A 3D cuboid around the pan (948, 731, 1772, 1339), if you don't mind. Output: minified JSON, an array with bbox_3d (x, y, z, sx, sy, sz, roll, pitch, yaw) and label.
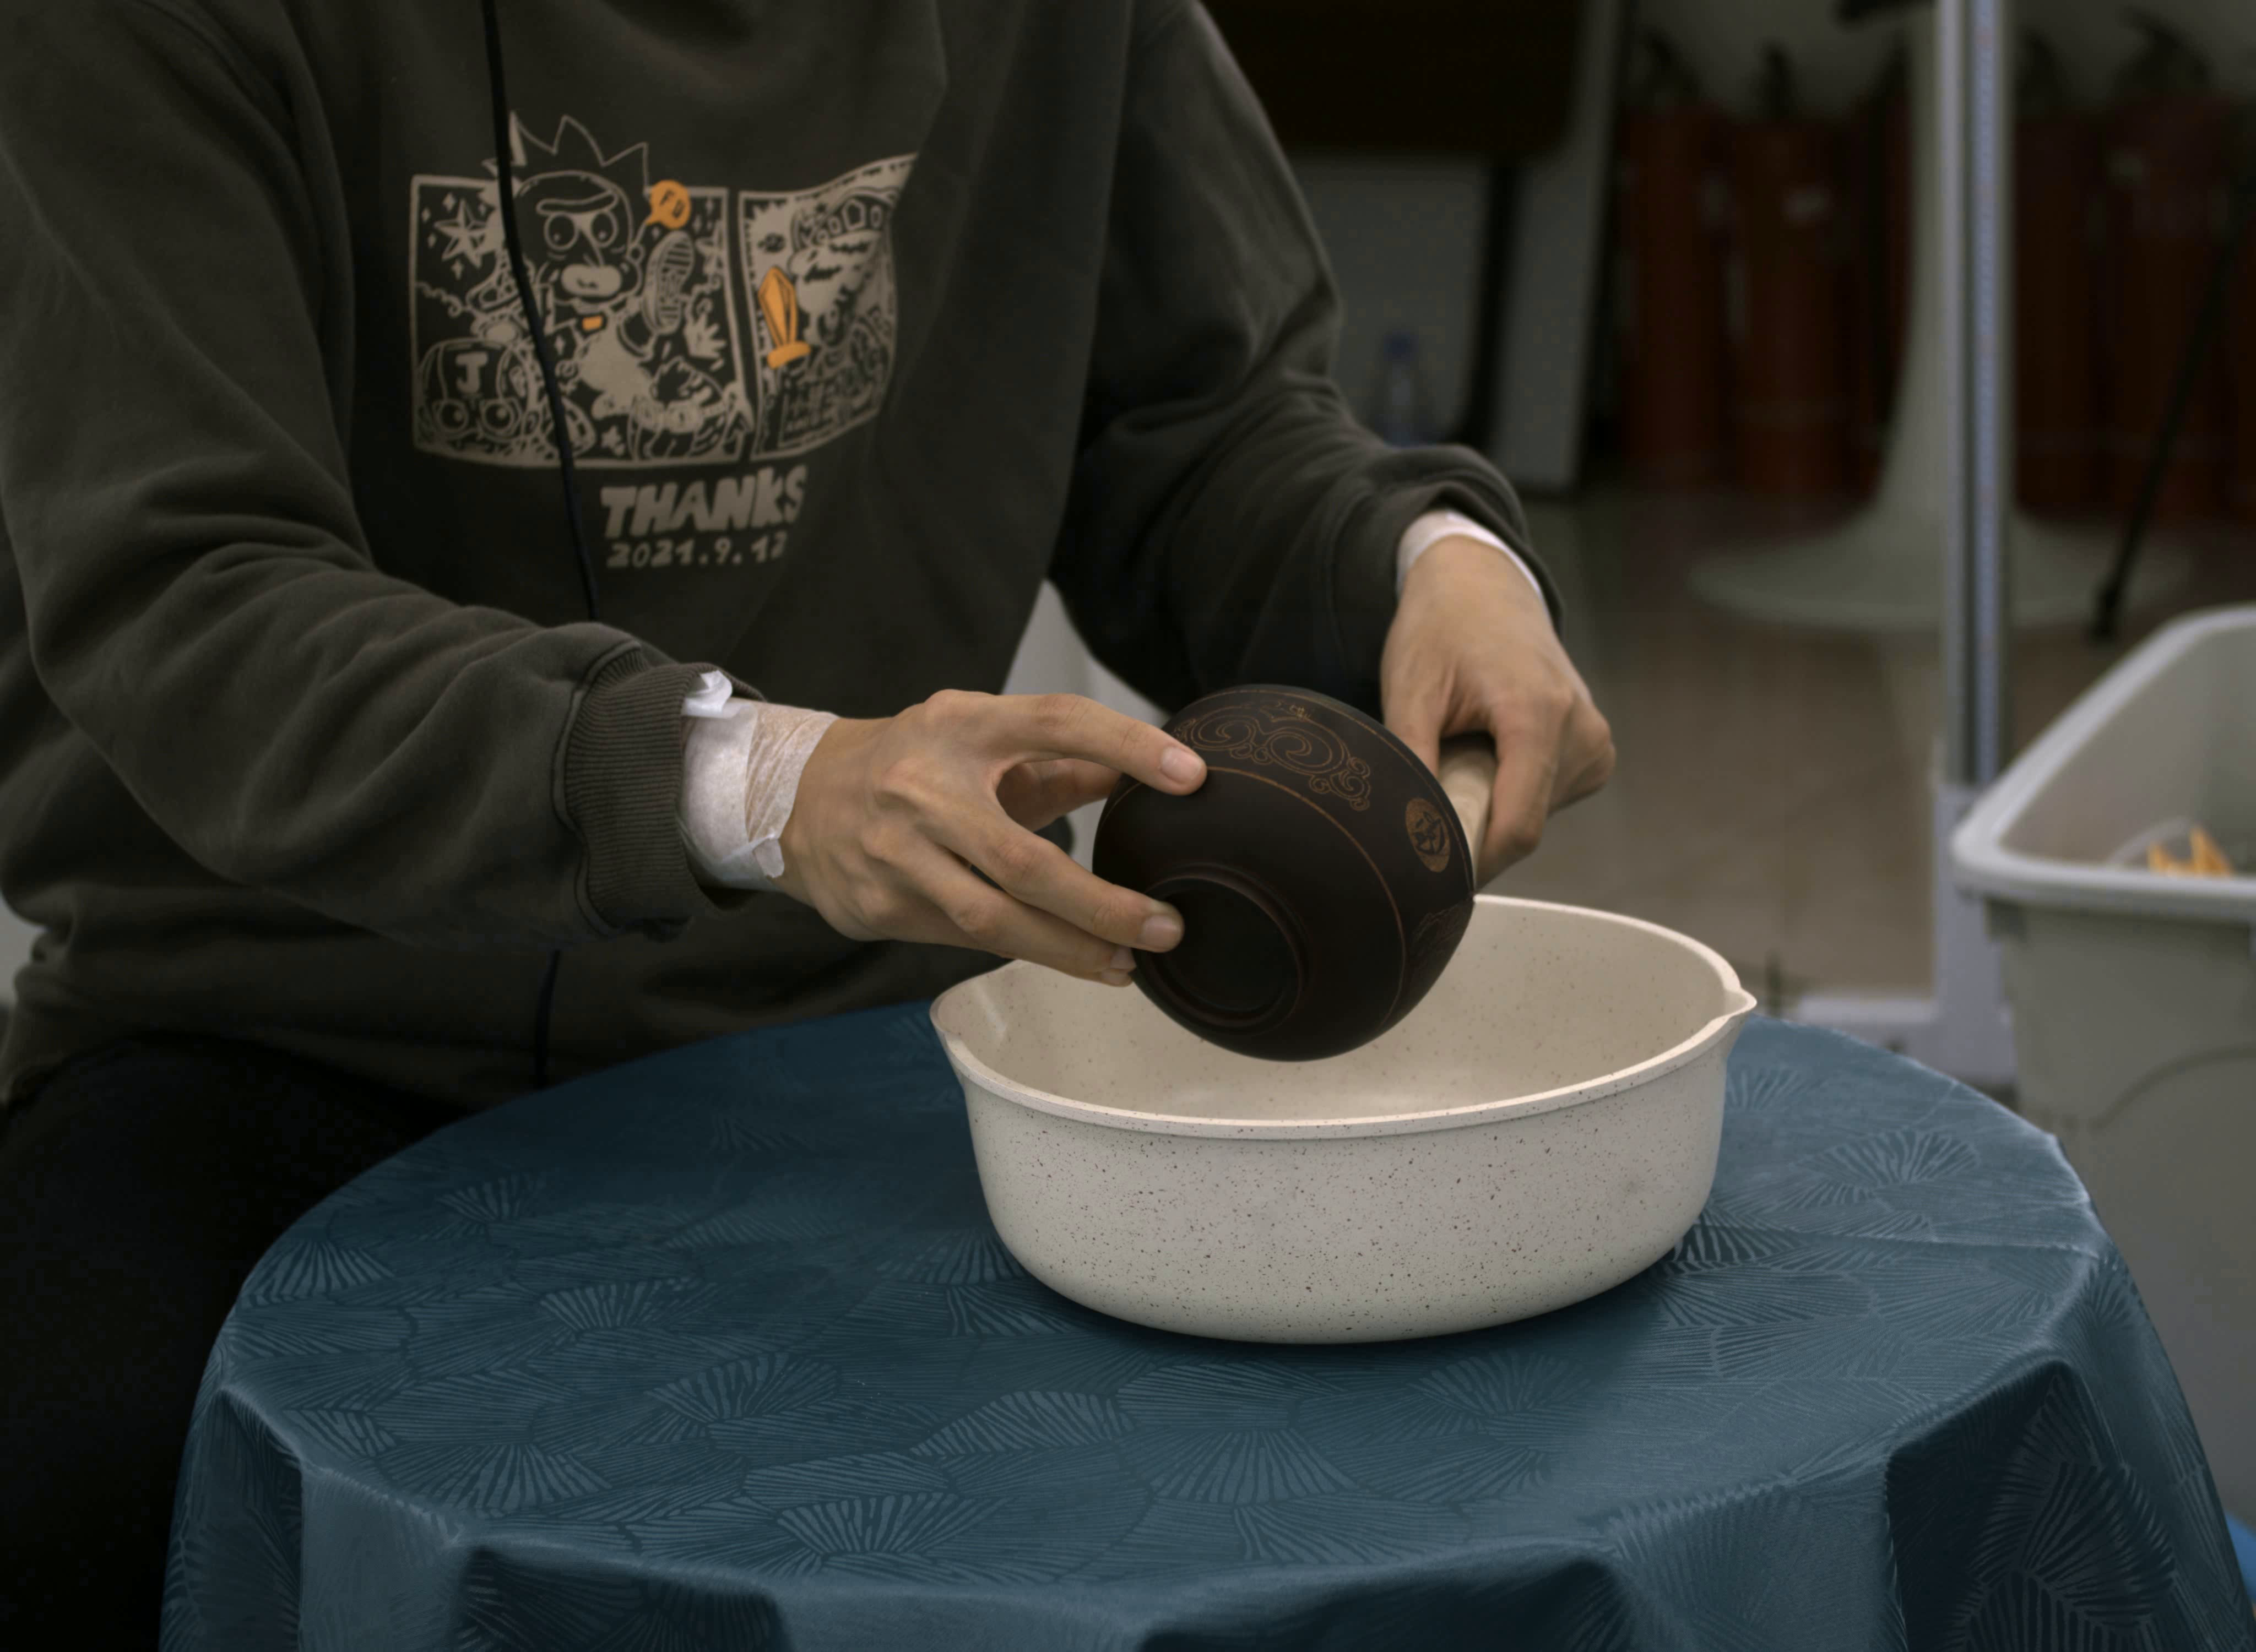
[{"bbox_3d":[0.092,0.065,1.776,0.262,0.103,0.432,-3,13,13],"label":"pan"}]

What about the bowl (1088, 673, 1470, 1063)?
[{"bbox_3d":[0.040,0.021,1.640,0.118,0.118,0.069,4,31,29],"label":"bowl"}]
